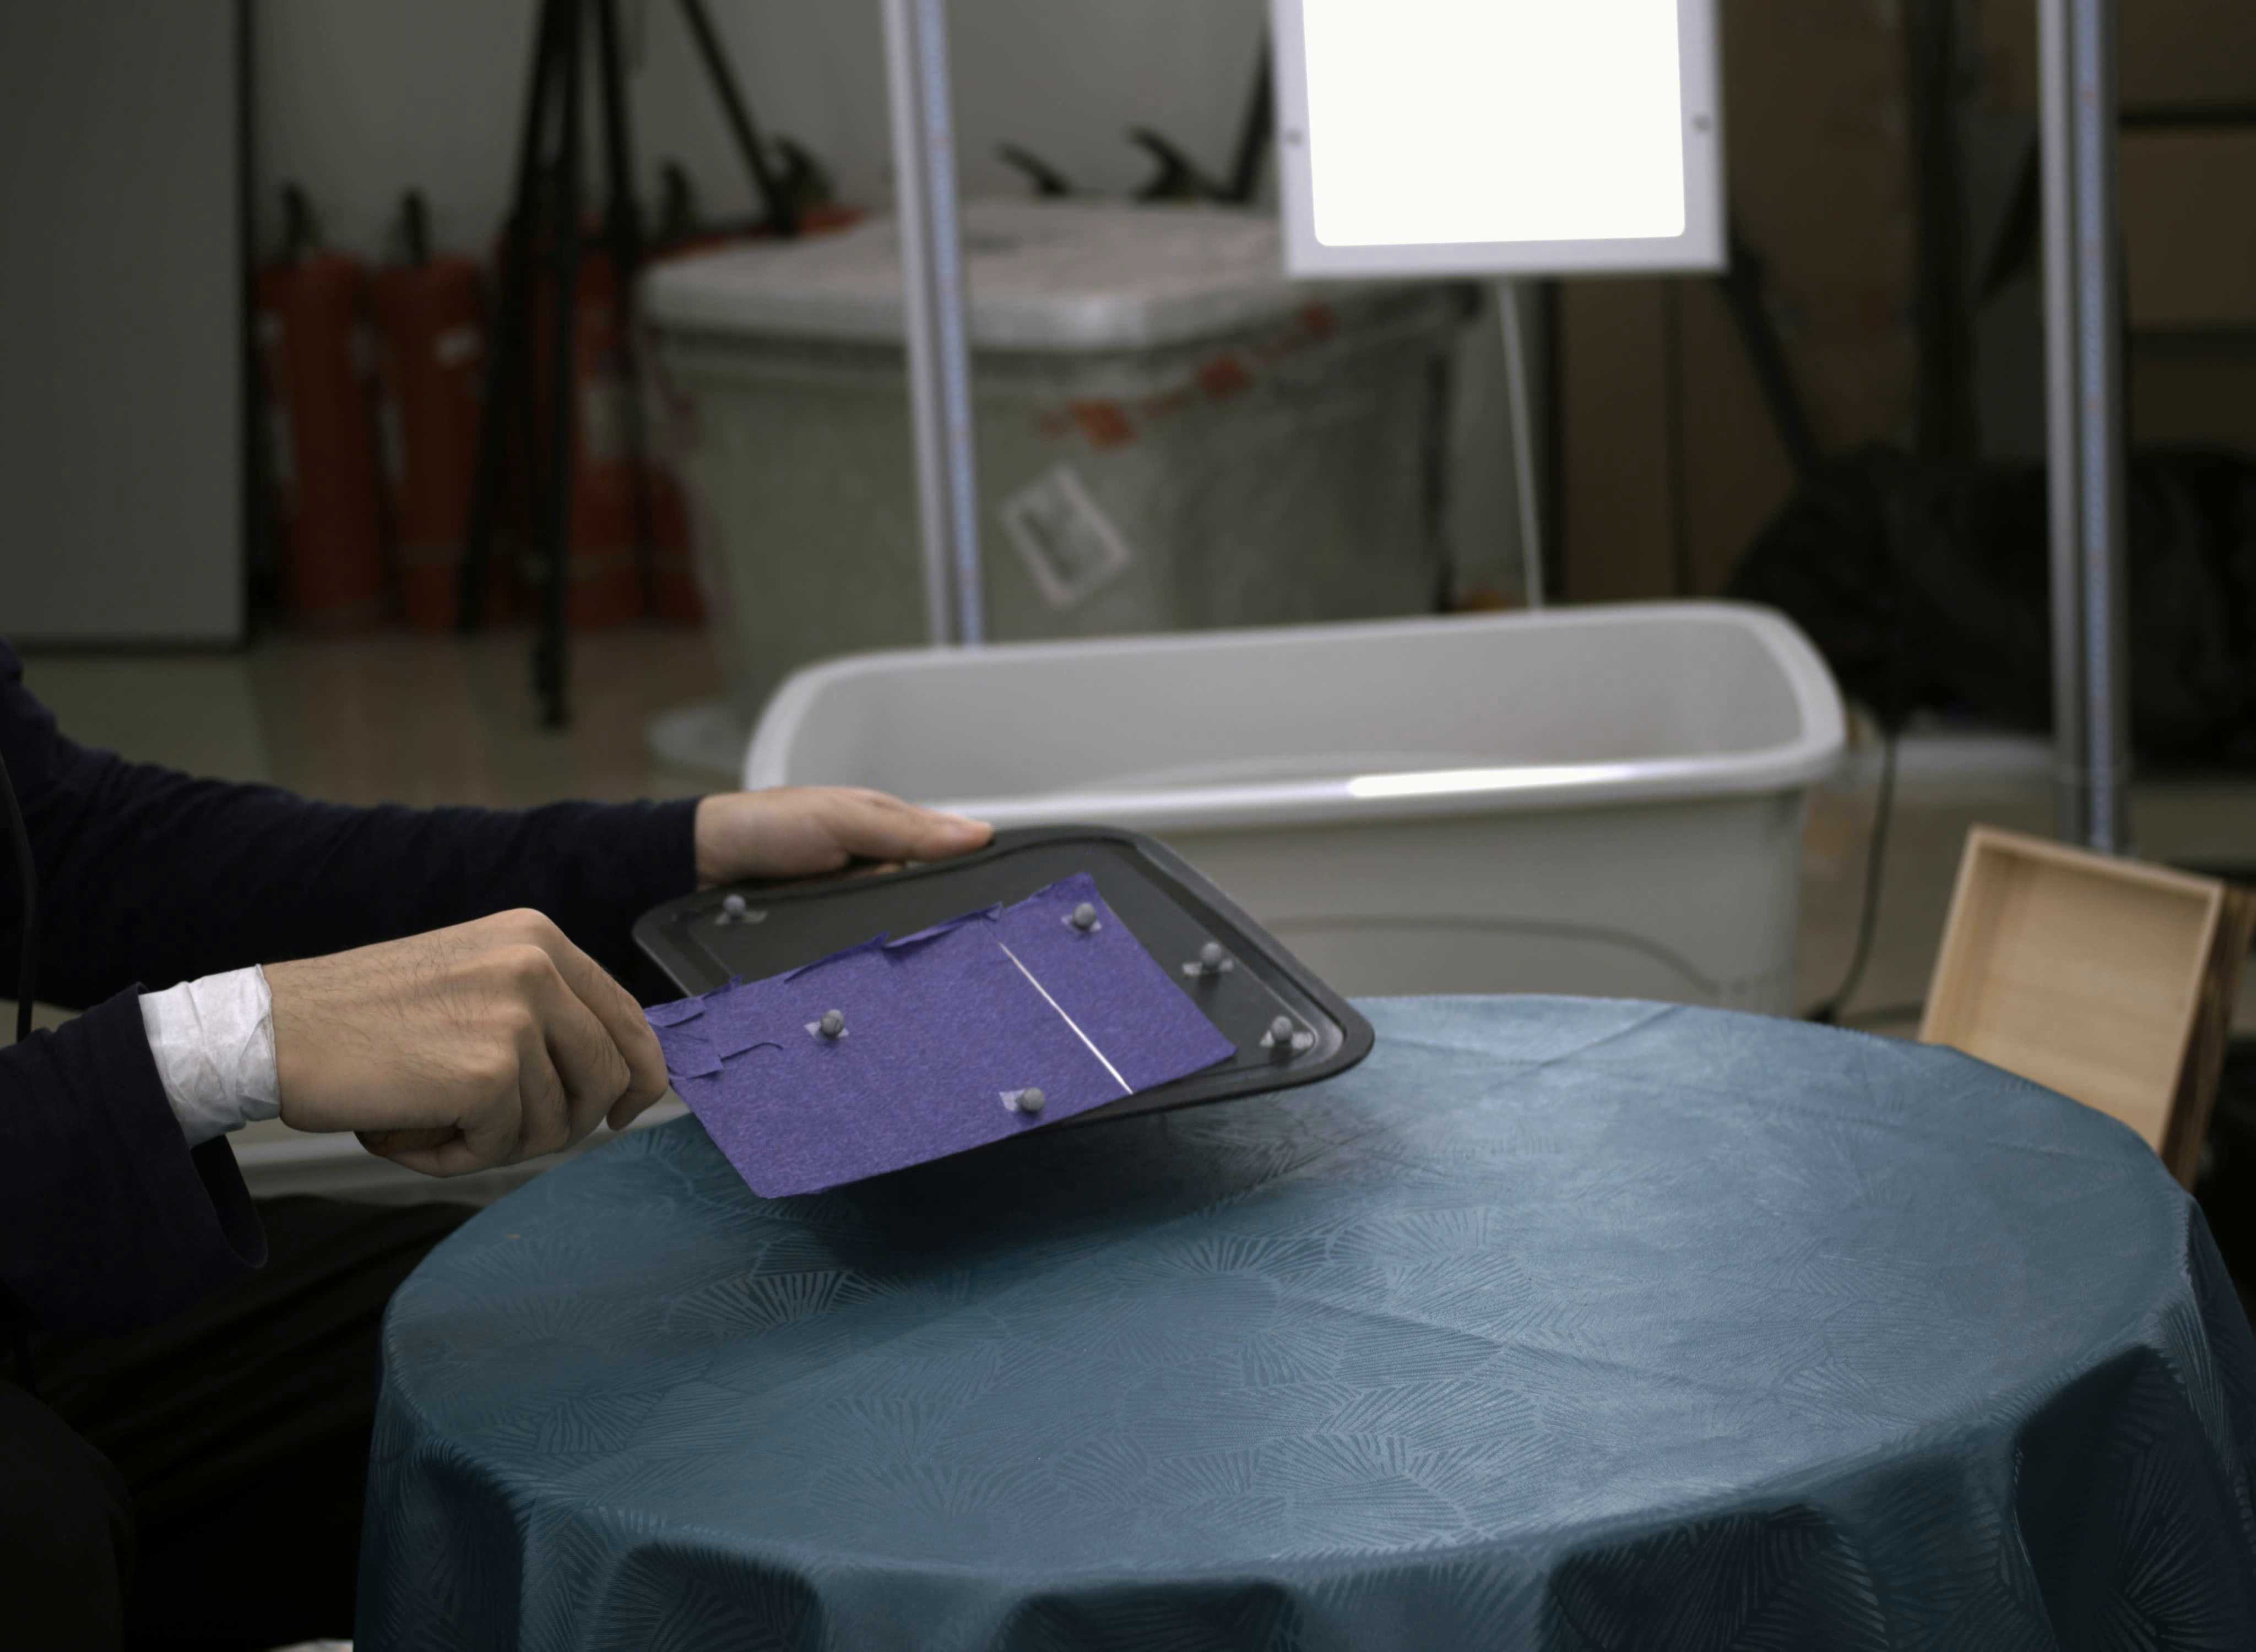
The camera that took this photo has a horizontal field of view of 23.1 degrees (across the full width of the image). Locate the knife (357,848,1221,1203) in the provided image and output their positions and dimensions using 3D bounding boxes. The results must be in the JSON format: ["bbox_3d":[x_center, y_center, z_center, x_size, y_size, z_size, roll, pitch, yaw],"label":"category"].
[{"bbox_3d":[-0.102,0.078,1.828,0.307,0.032,0.105,-19,54,-35],"label":"knife"}]

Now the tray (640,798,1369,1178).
[{"bbox_3d":[-0.054,0.051,2.005,0.208,0.010,0.329,-14,22,-14],"label":"tray"}]
